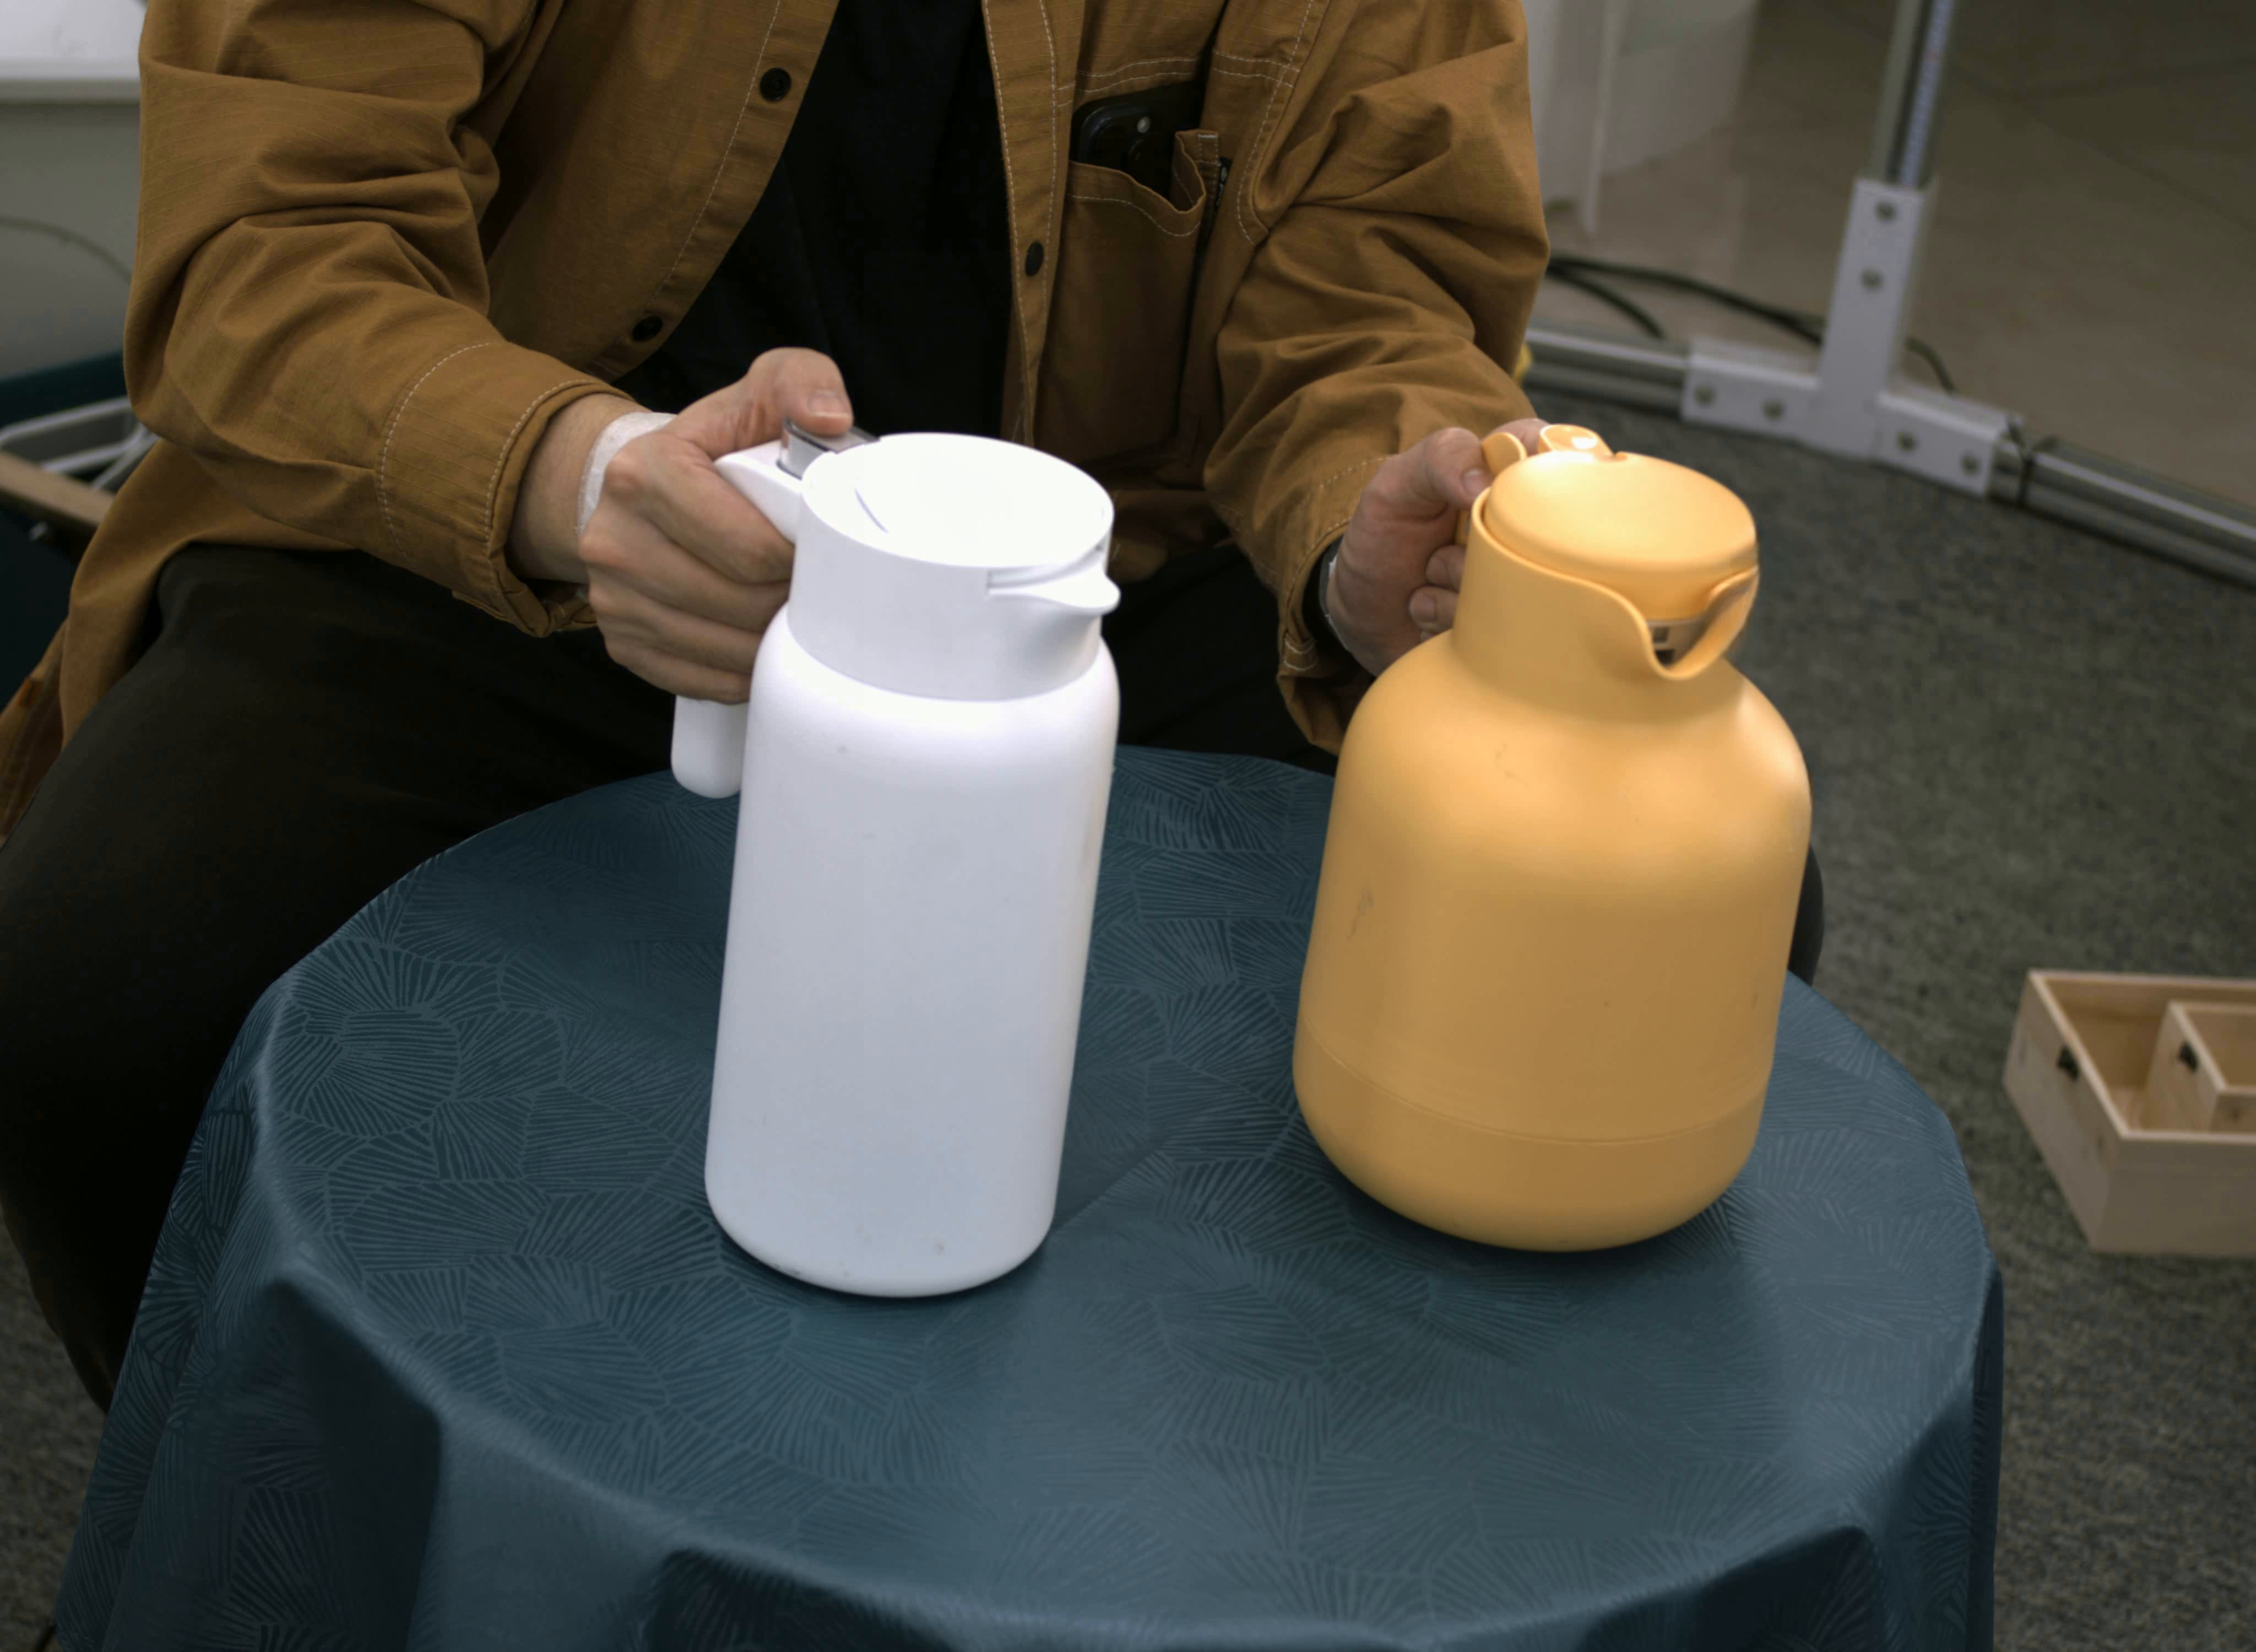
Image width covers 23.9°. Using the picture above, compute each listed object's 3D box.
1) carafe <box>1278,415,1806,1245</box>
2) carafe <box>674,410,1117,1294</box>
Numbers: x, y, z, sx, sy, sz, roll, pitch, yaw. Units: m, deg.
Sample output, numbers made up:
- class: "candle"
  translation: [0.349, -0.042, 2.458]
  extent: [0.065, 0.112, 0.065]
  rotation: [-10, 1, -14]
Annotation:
- class: "carafe"
  translation: [0.143, -0.008, 1.806]
  extent: [0.162, 0.259, 0.204]
  rotation: [3, 28, -13]
- class: "carafe"
  translation: [-0.082, 0.005, 1.724]
  extent: [0.174, 0.268, 0.123]
  rotation: [29, 36, 36]
